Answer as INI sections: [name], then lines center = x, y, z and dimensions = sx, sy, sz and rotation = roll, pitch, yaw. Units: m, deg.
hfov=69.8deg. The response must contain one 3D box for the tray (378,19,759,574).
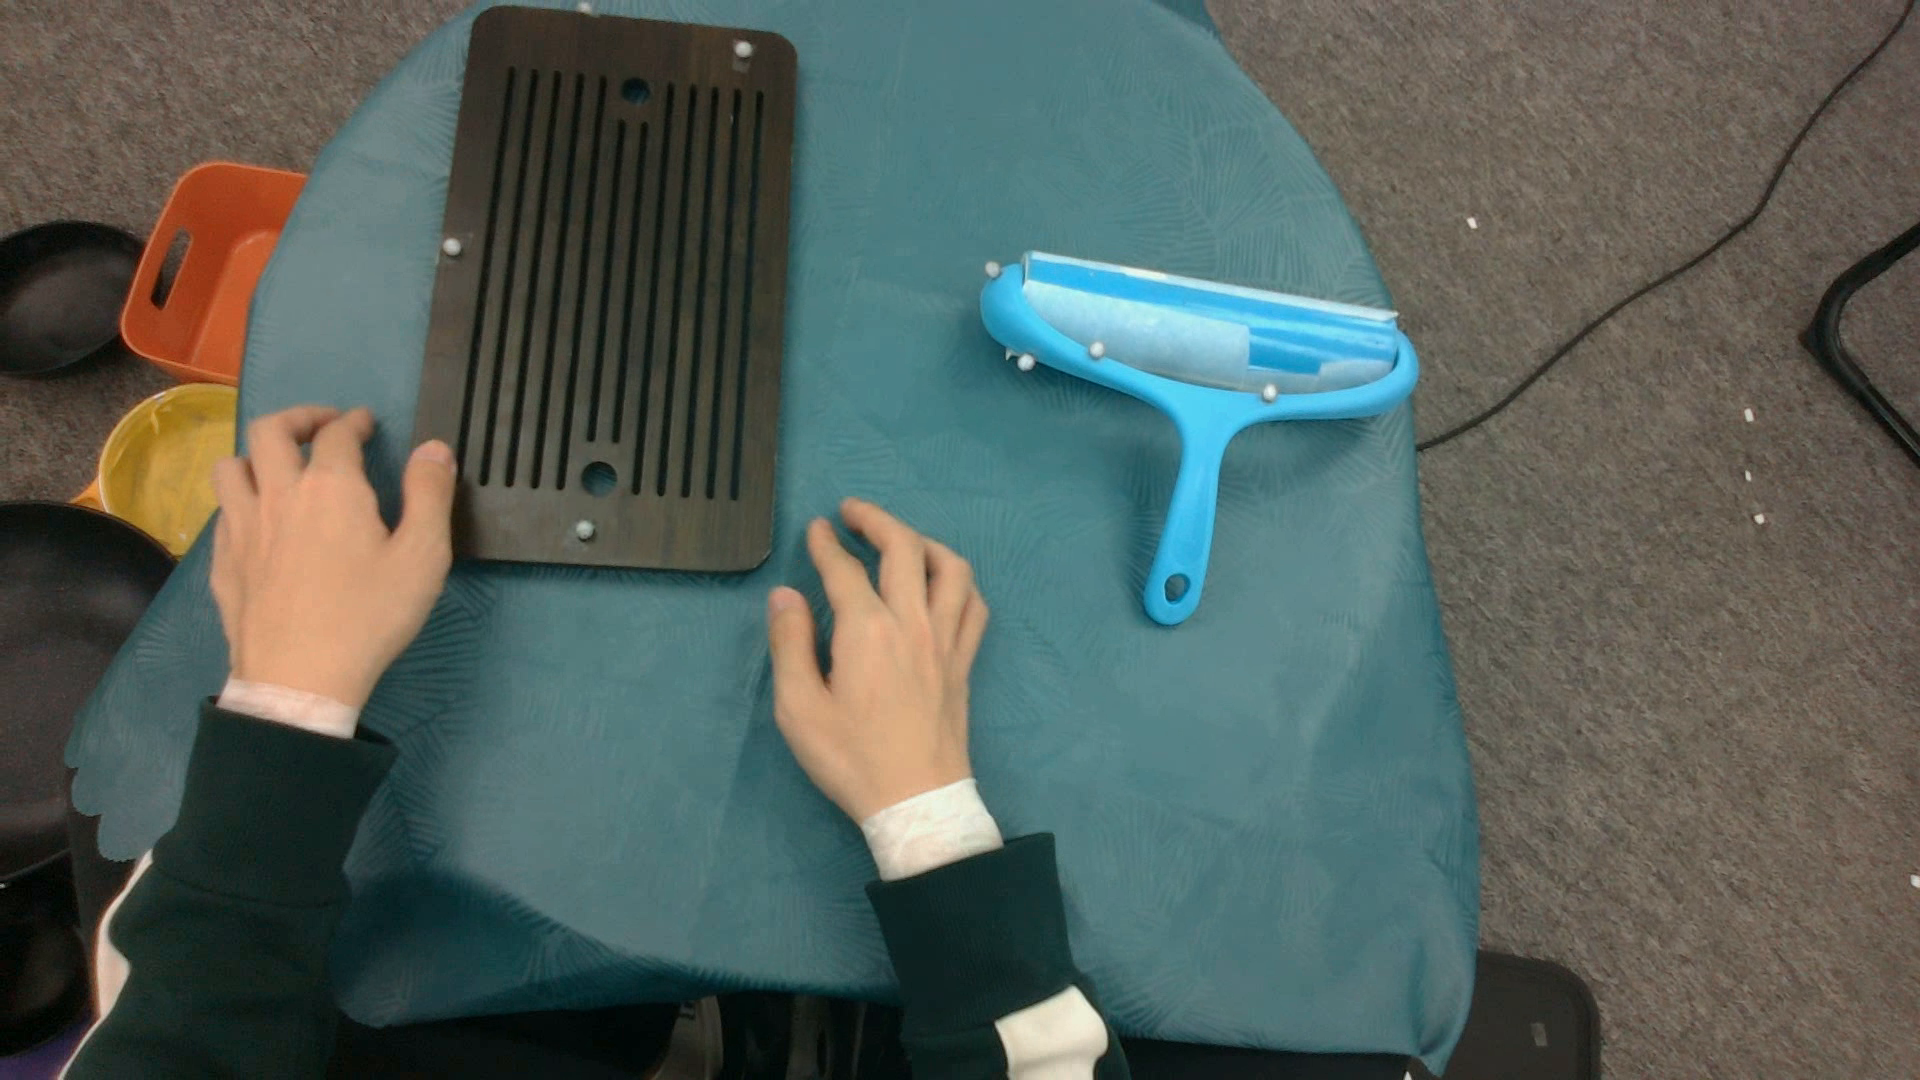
[tray]
center = -0.190, -0.129, 0.697
dimensions = 0.170, 0.018, 0.307
rotation = 1, 71, -8

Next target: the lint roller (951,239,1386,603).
[lint roller]
center = 0.107, -0.062, 0.696
dimensions = 0.229, 0.067, 0.181
rotation = 5, 69, -8
